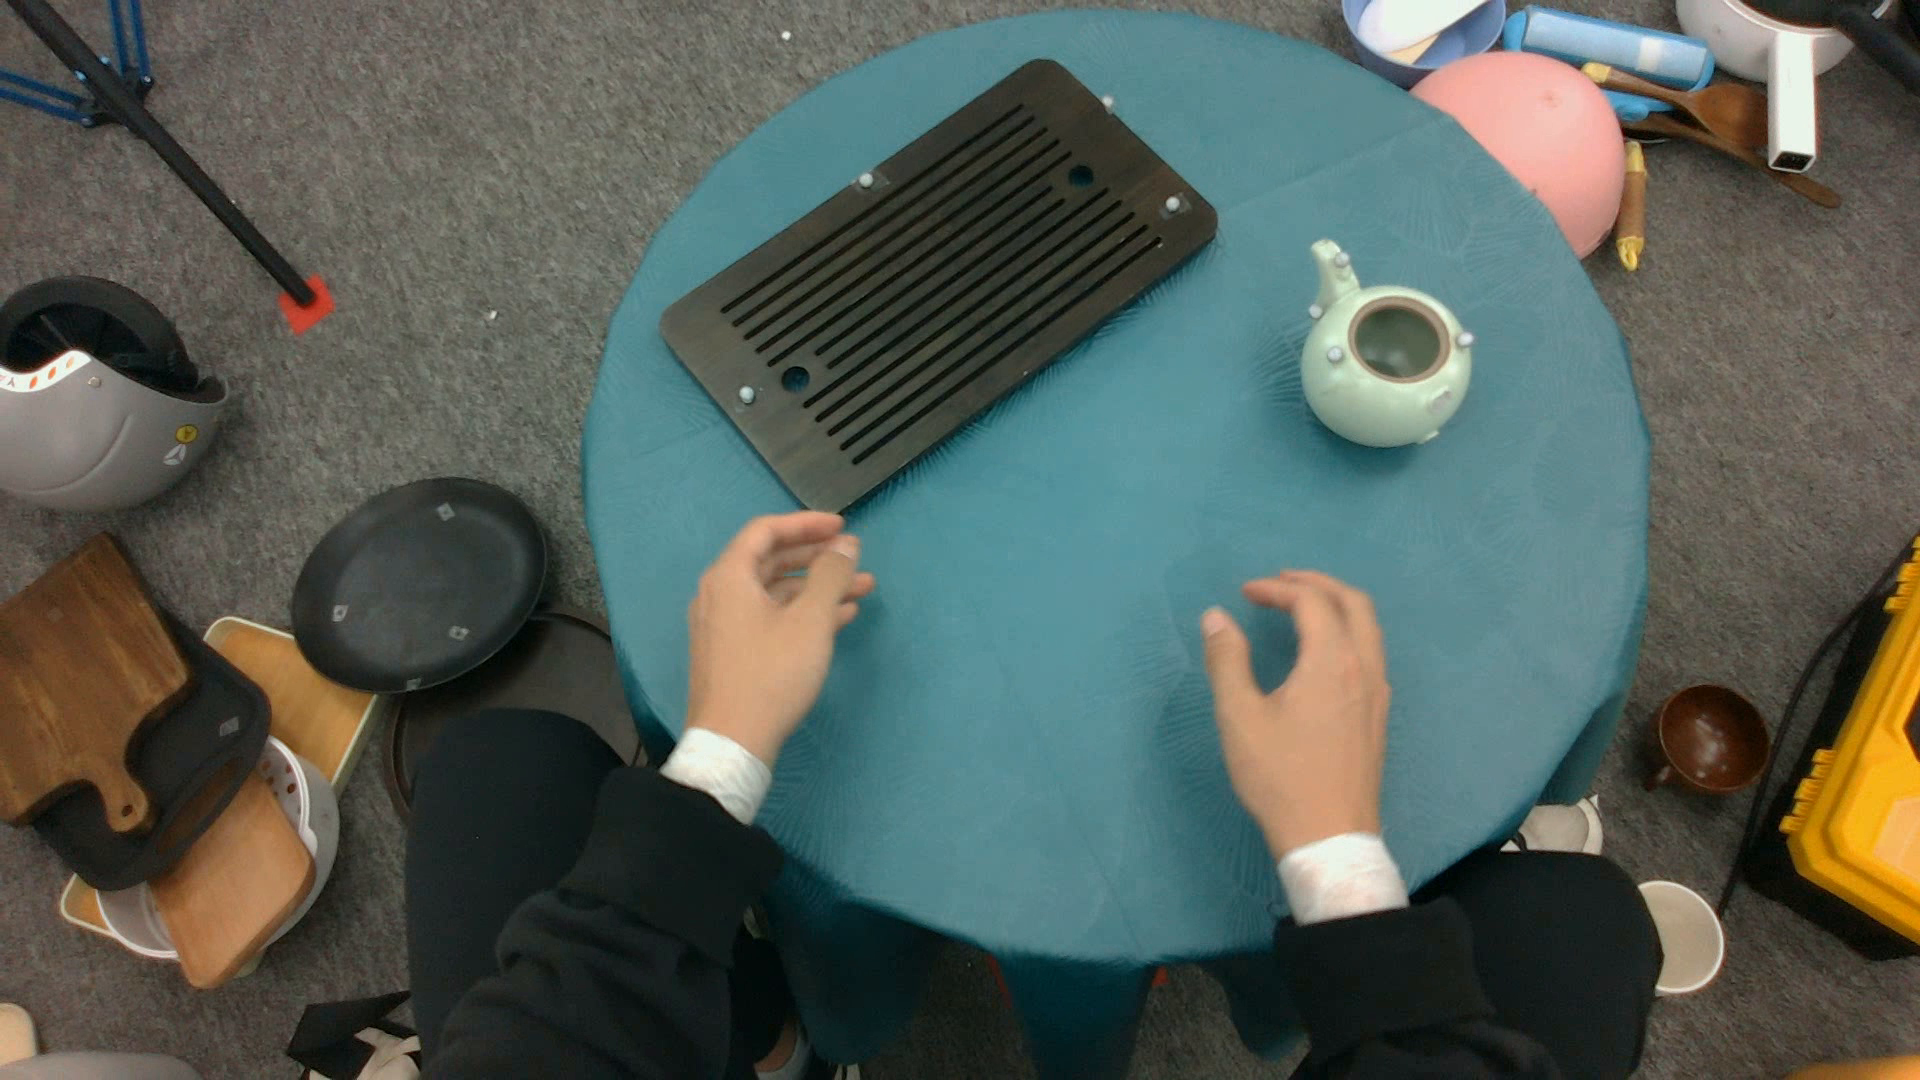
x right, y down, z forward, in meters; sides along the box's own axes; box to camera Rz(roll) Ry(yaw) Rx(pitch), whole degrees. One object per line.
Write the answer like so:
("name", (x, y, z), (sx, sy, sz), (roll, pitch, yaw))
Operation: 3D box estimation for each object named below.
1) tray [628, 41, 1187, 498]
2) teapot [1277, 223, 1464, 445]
("tray", (-0.028, -0.167, 0.816), (0.306, 0.018, 0.170), (-38, 72, -13))
("teapot", (0.219, -0.105, 0.756), (0.088, 0.074, 0.144), (-29, 68, -10))
